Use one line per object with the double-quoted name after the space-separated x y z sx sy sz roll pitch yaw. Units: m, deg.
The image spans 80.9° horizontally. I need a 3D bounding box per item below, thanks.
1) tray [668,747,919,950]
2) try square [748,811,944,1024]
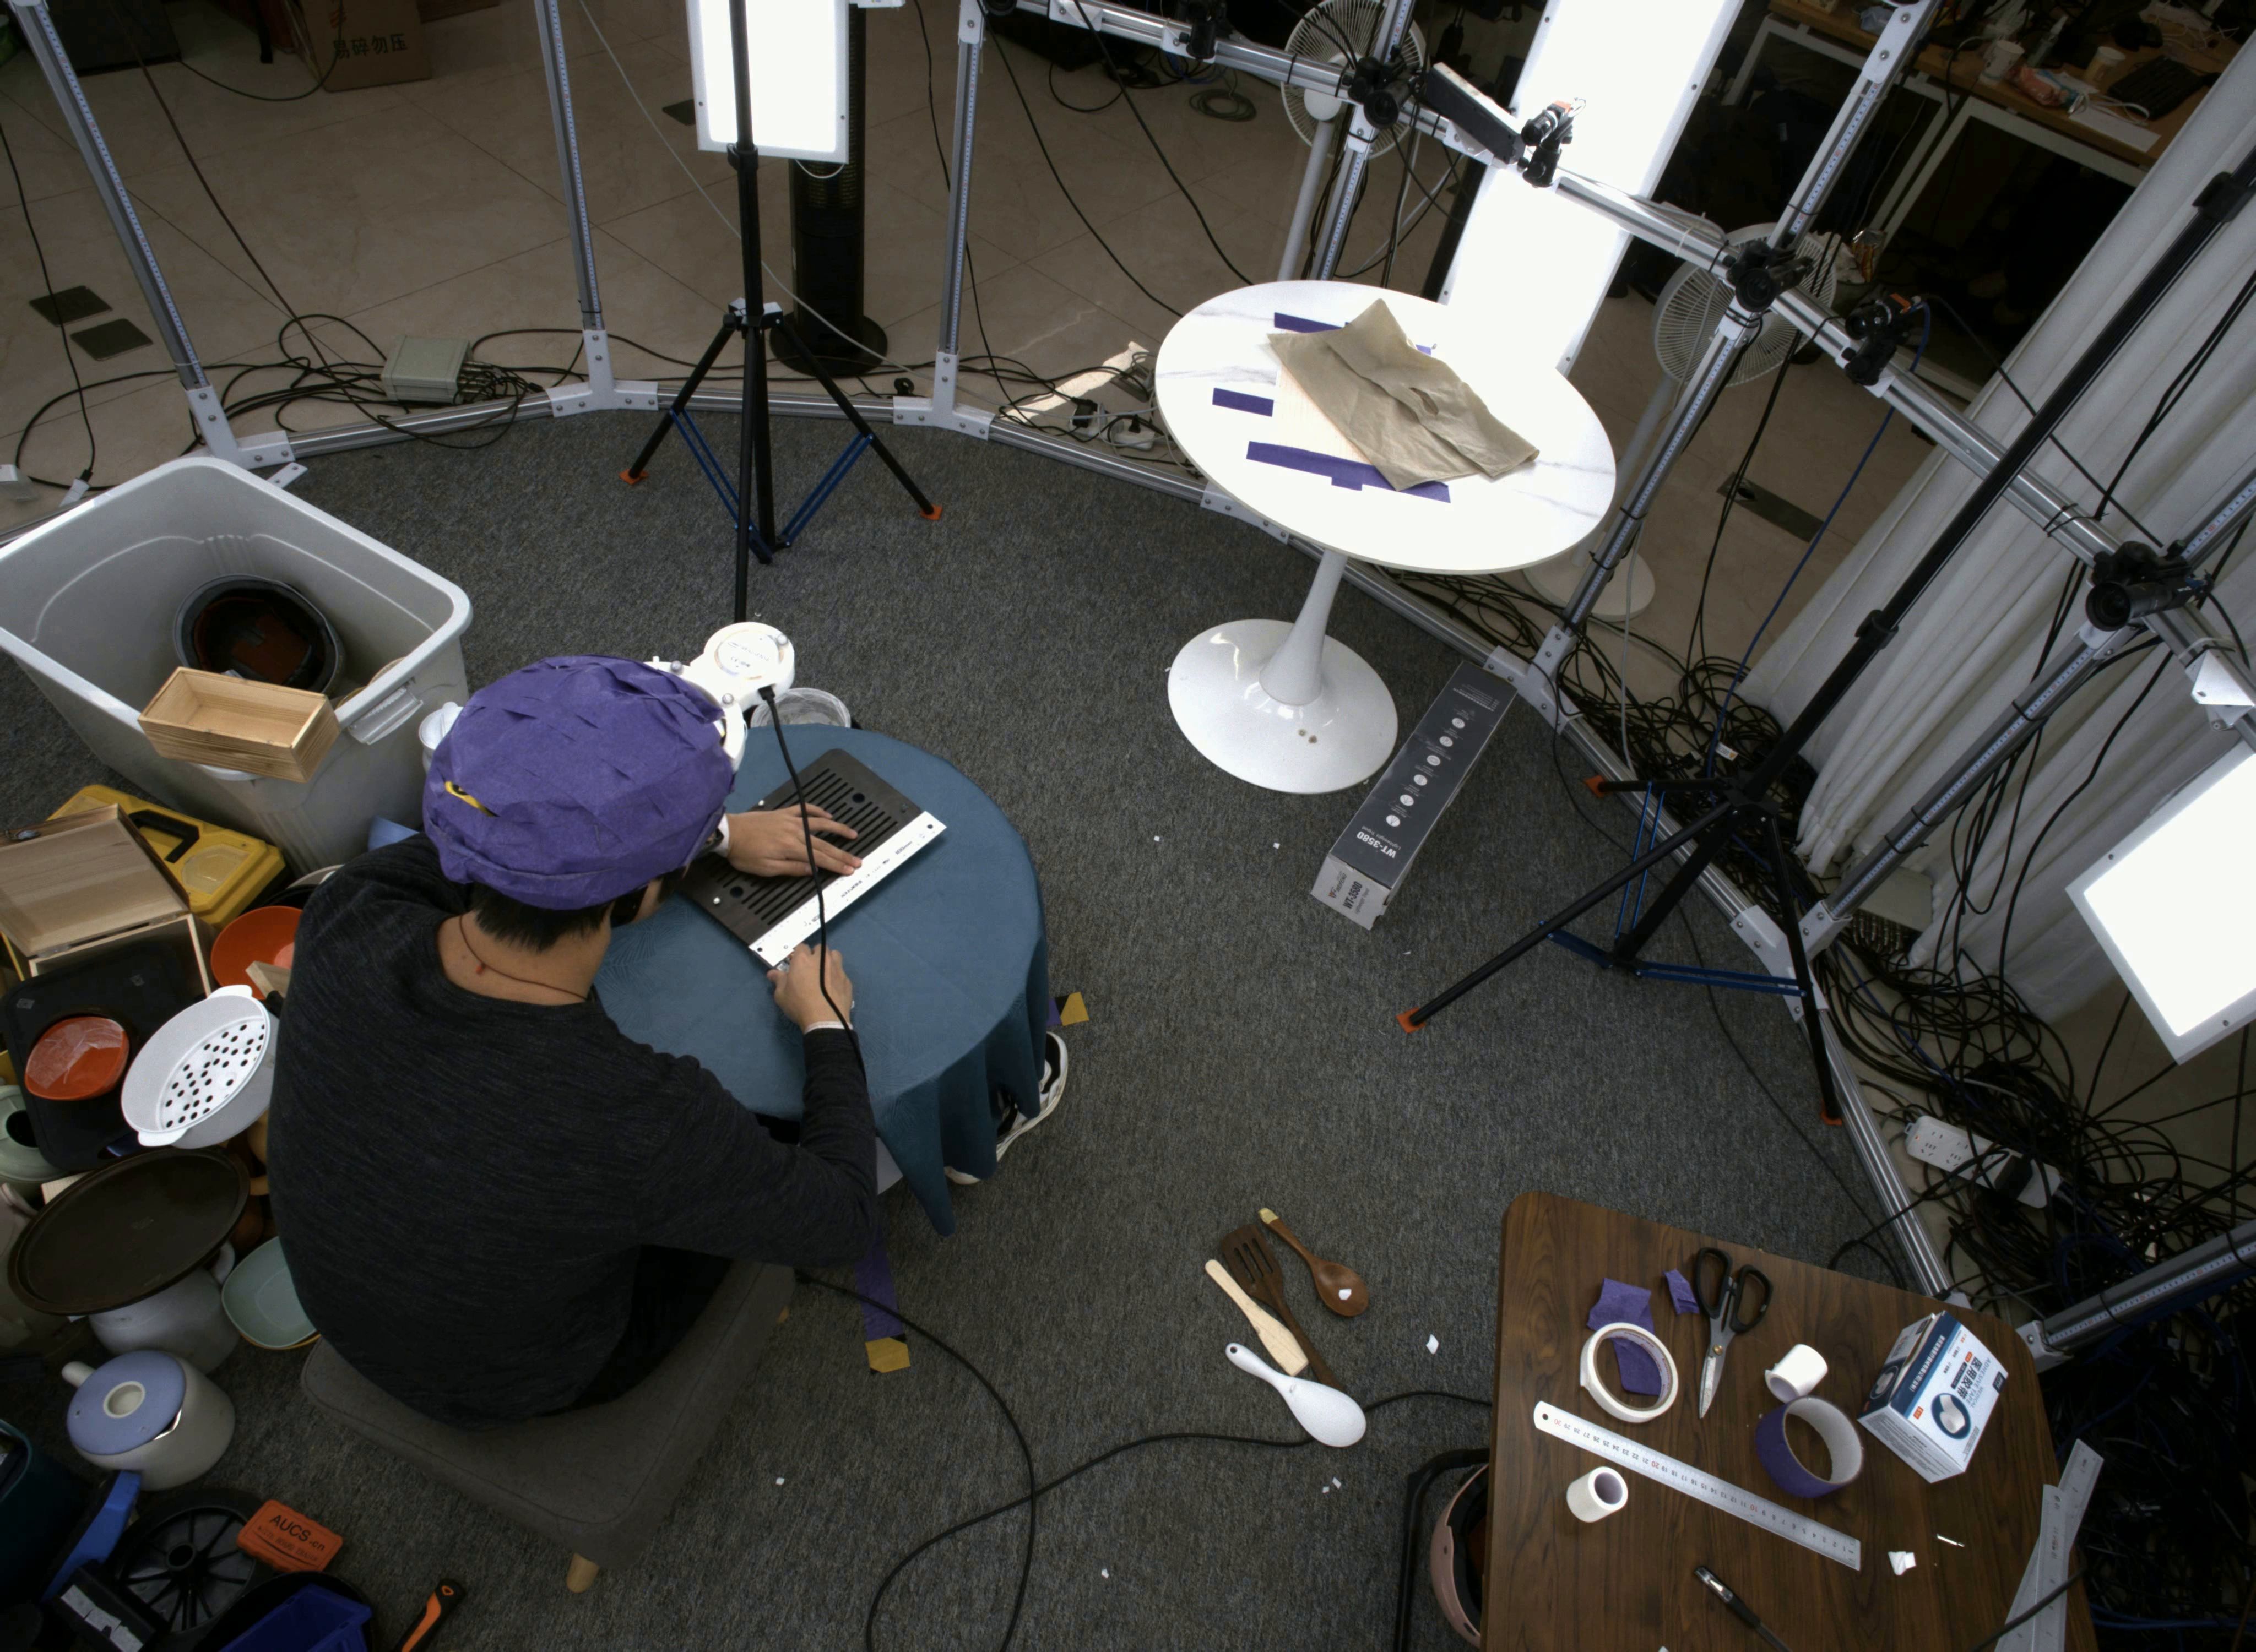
-0.431 0.023 1.689 0.167 0.019 0.306 37 54 13 "tray"
-0.313 0.105 1.644 0.149 0.016 0.313 36 53 16 "try square"
